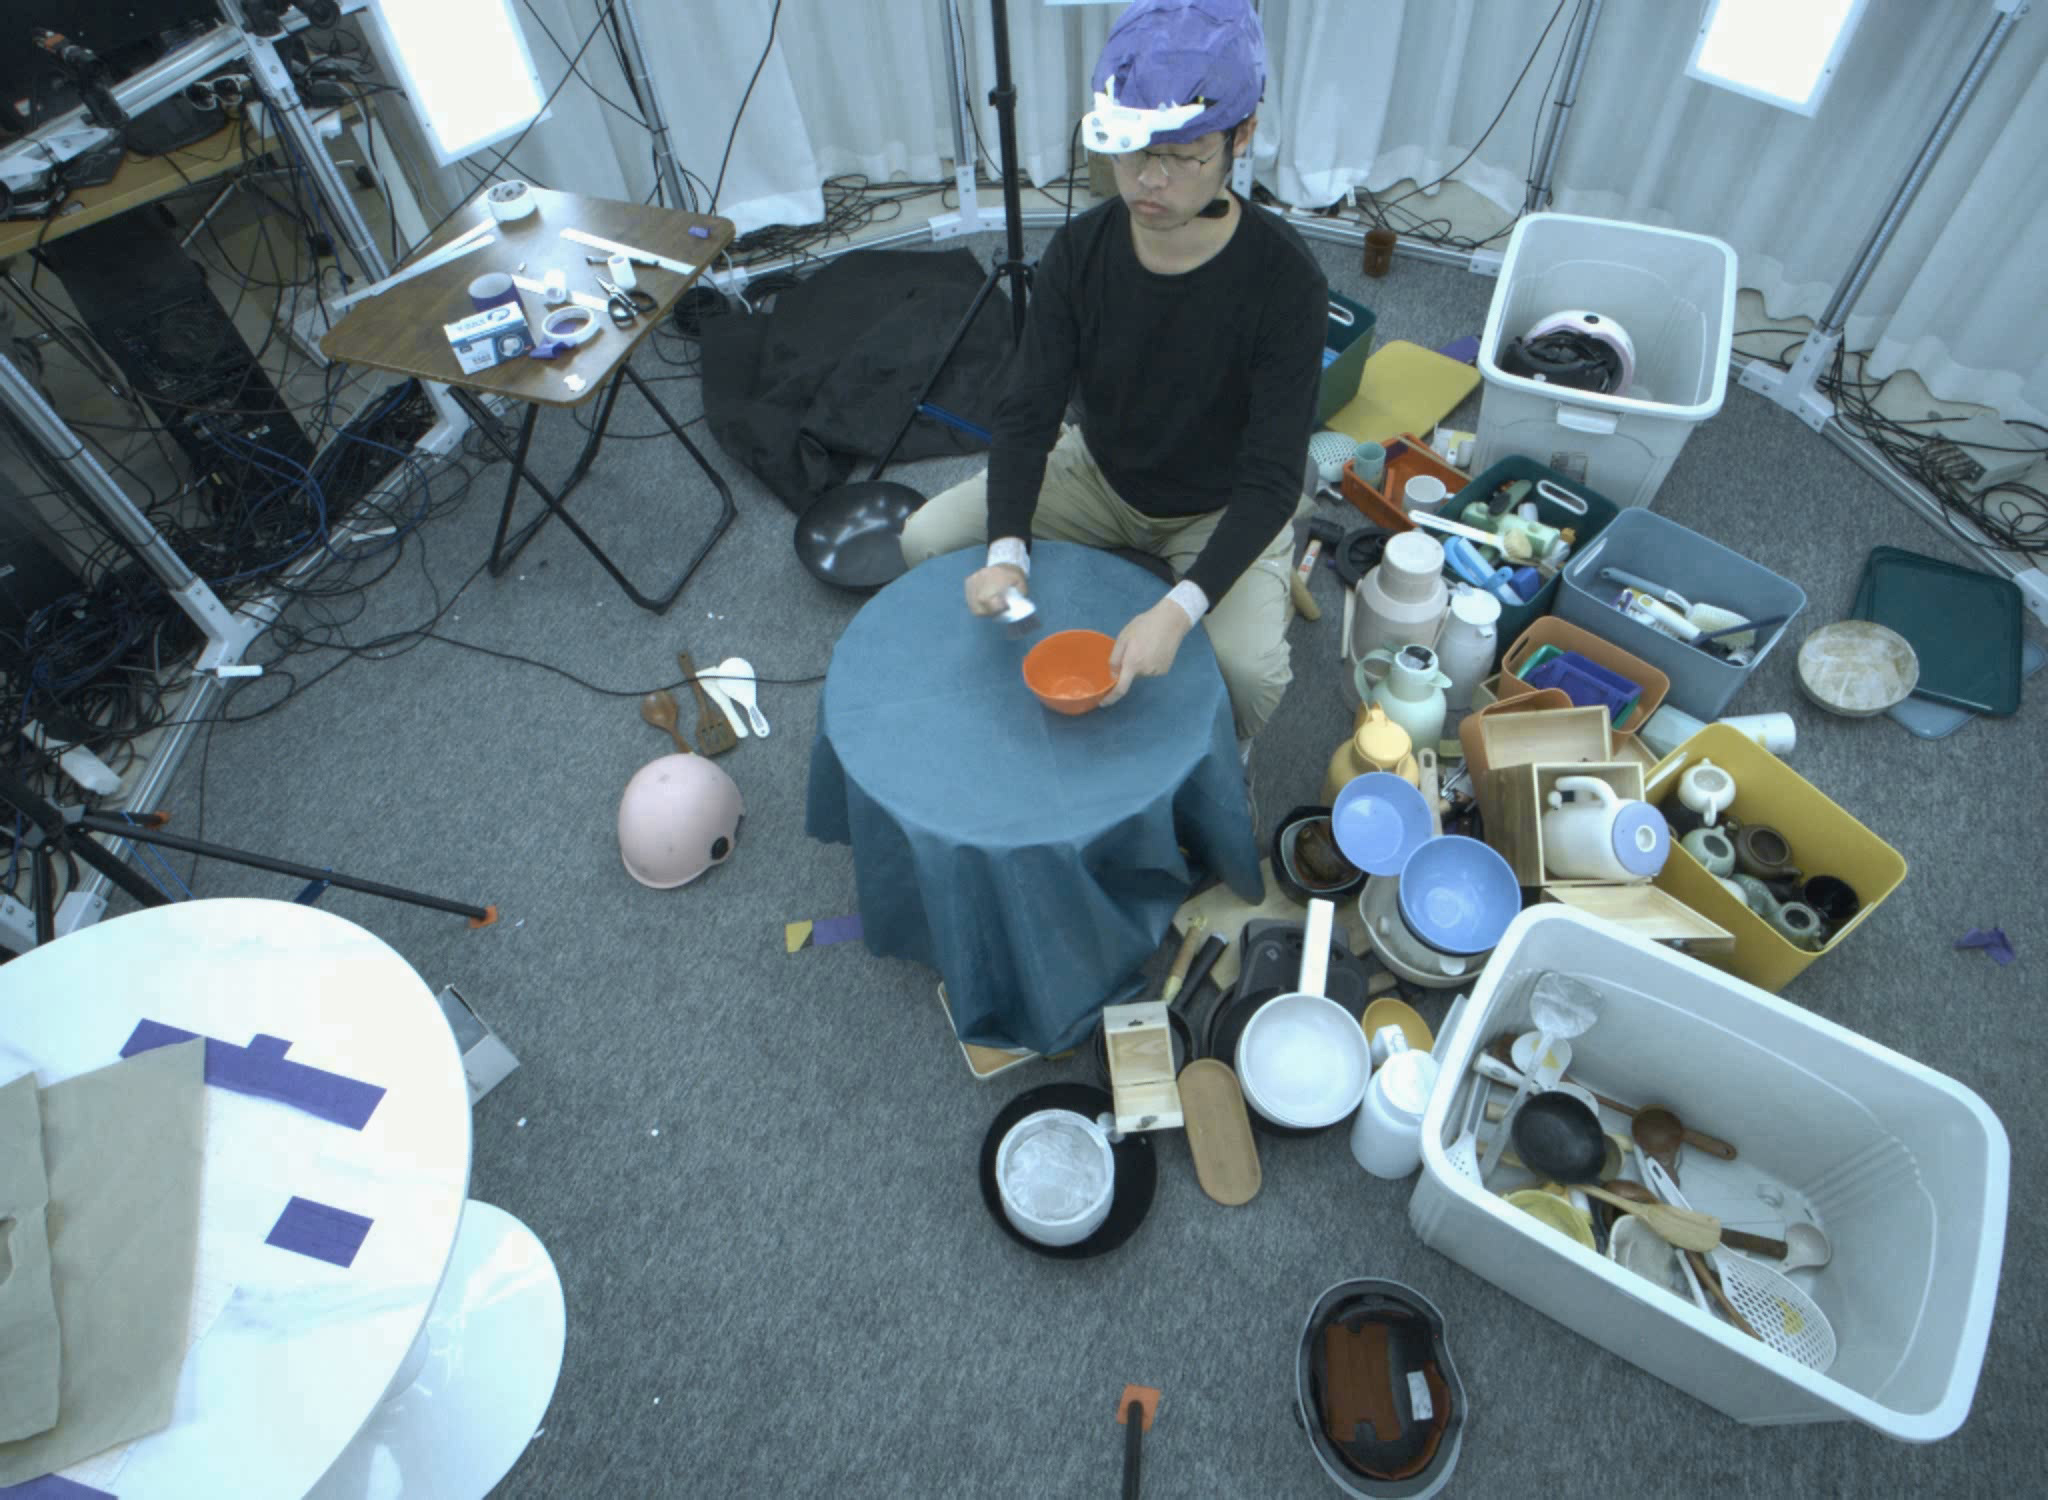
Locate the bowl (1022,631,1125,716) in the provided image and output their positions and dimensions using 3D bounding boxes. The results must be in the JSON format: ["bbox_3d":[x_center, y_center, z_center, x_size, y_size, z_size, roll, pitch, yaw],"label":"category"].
[{"bbox_3d":[0.072,-0.098,1.795,0.148,0.106,0.146,0,54,2],"label":"bowl"}]

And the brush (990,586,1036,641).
[{"bbox_3d":[-0.024,-0.203,1.773,0.050,0.073,0.098,-30,15,-2],"label":"brush"}]
